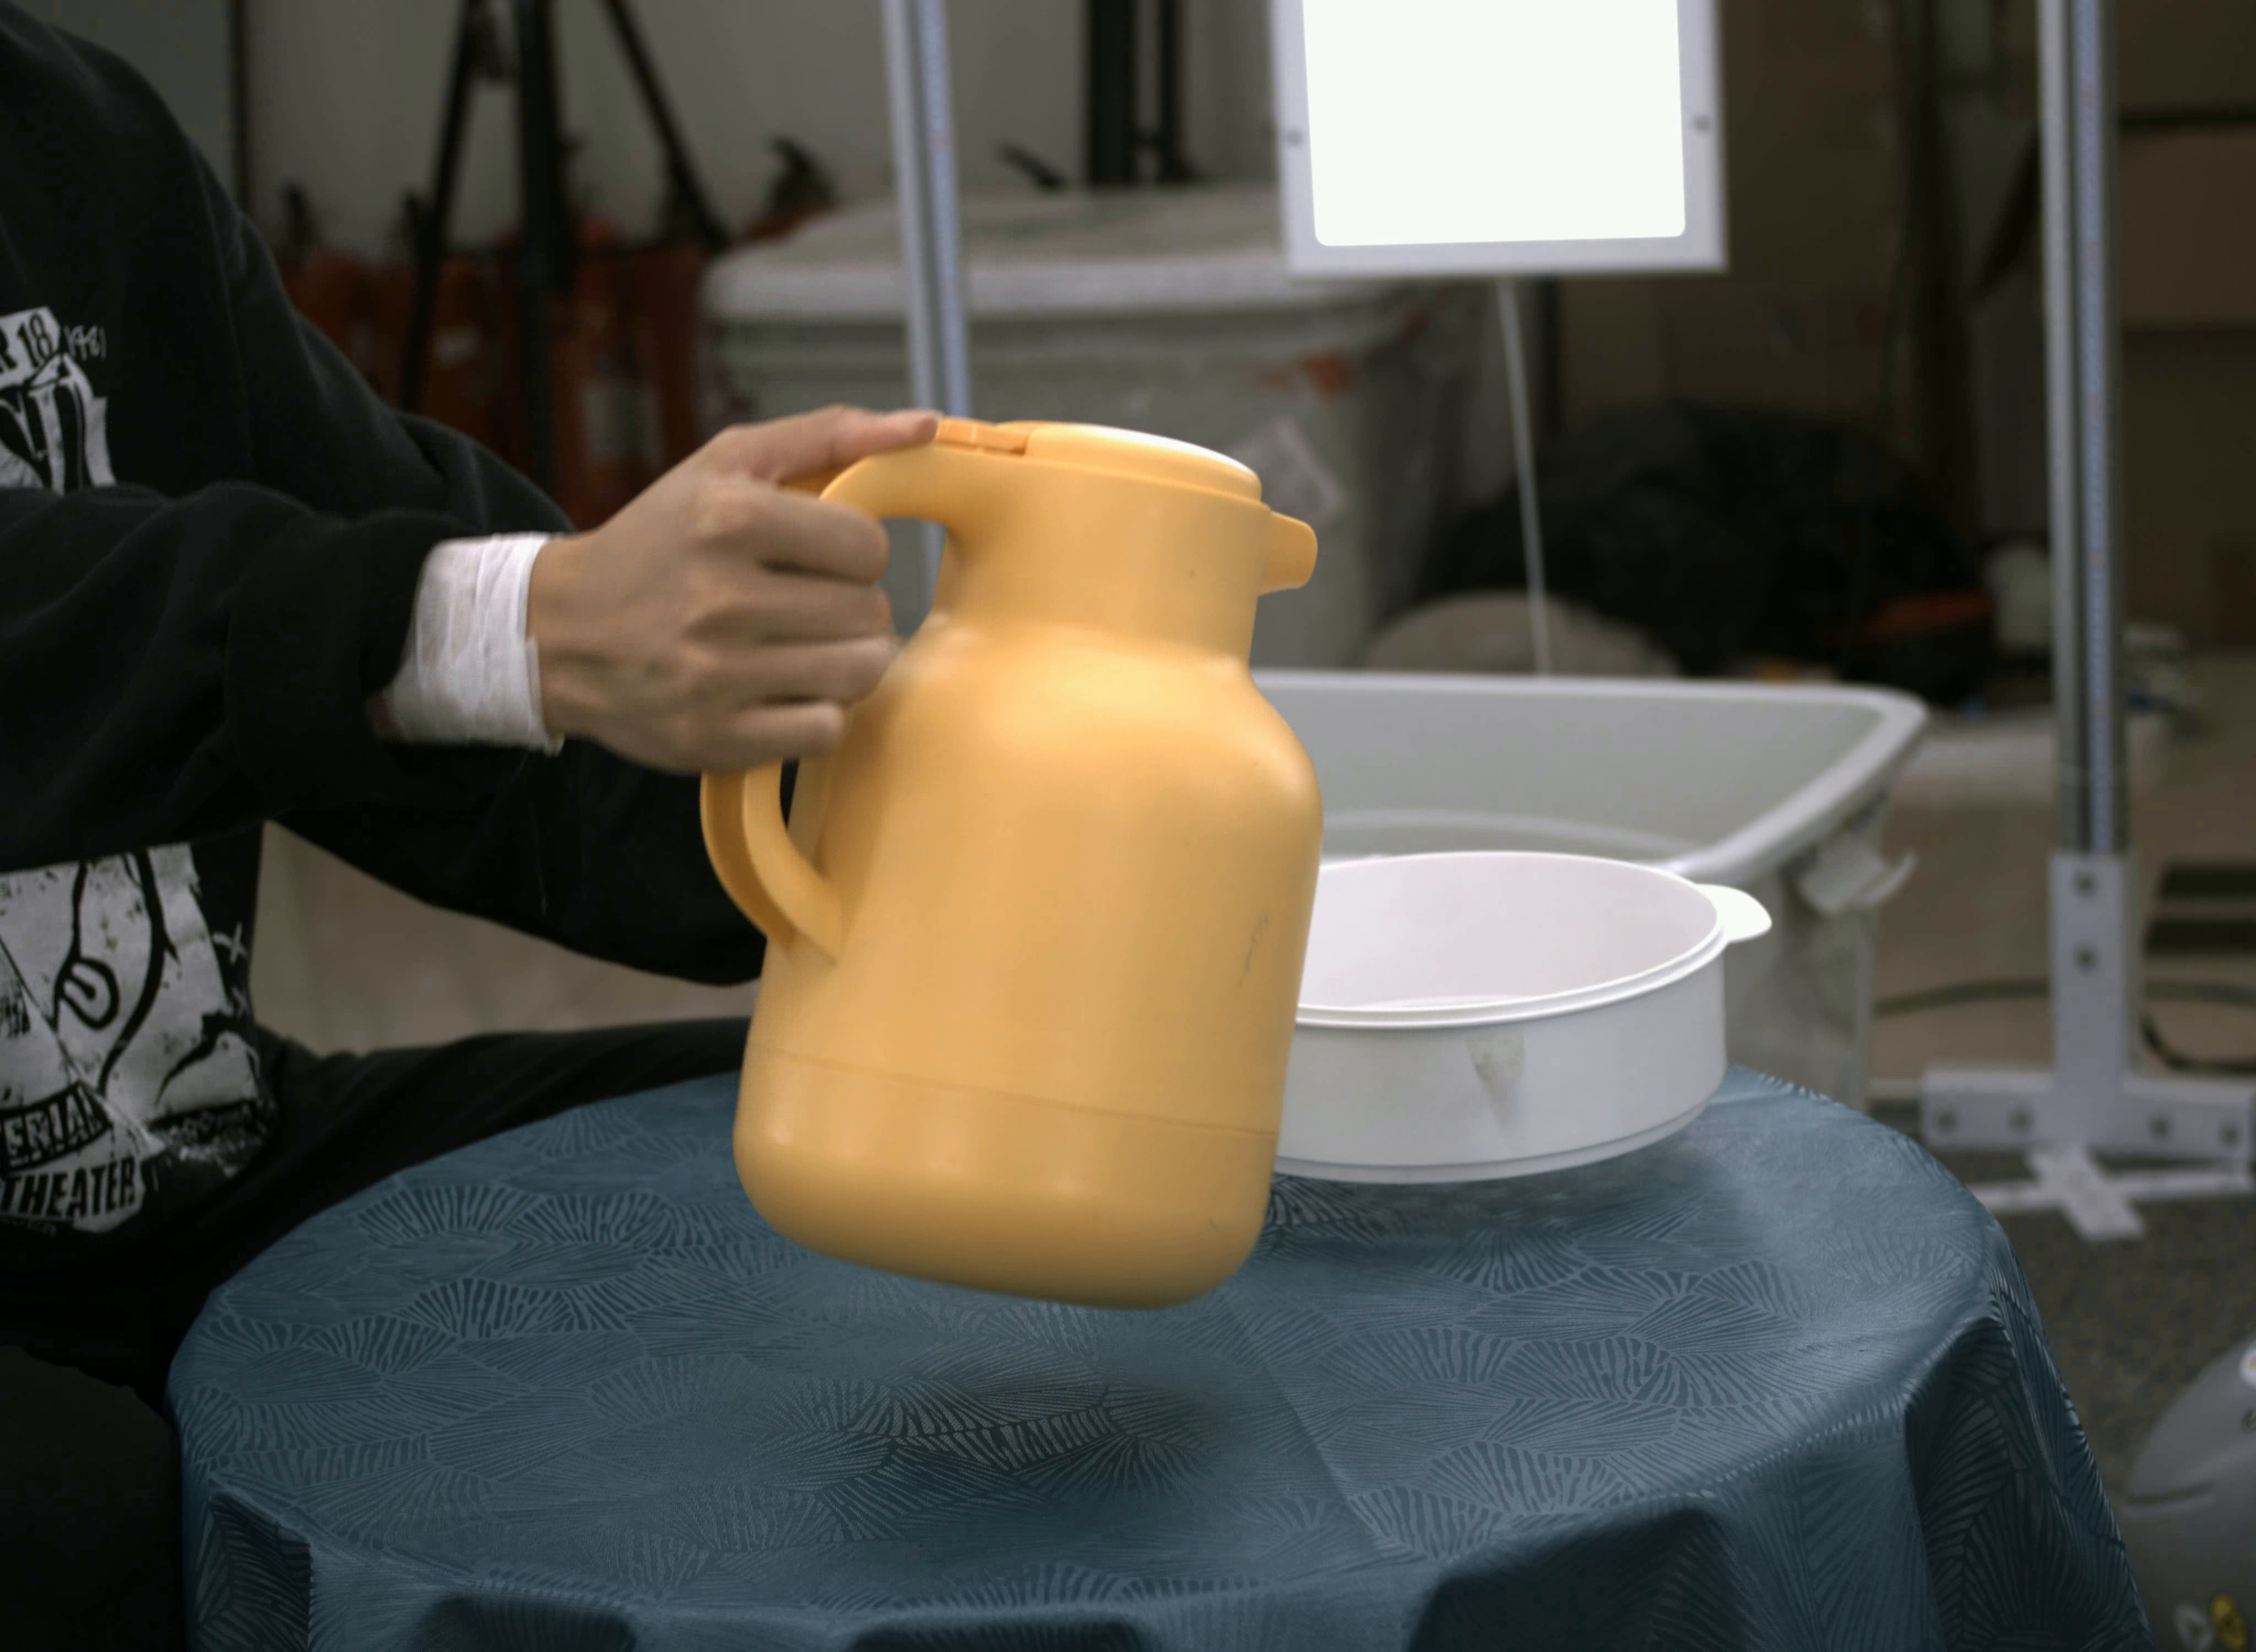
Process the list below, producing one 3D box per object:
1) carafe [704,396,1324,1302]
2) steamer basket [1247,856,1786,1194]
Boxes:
[{"bbox_3d":[-0.039,0.003,1.647,0.198,0.261,0.167,12,-5,-32],"label":"carafe"},{"bbox_3d":[0.114,0.068,1.894,0.229,0.069,0.202,-6,15,-4],"label":"steamer basket"}]
